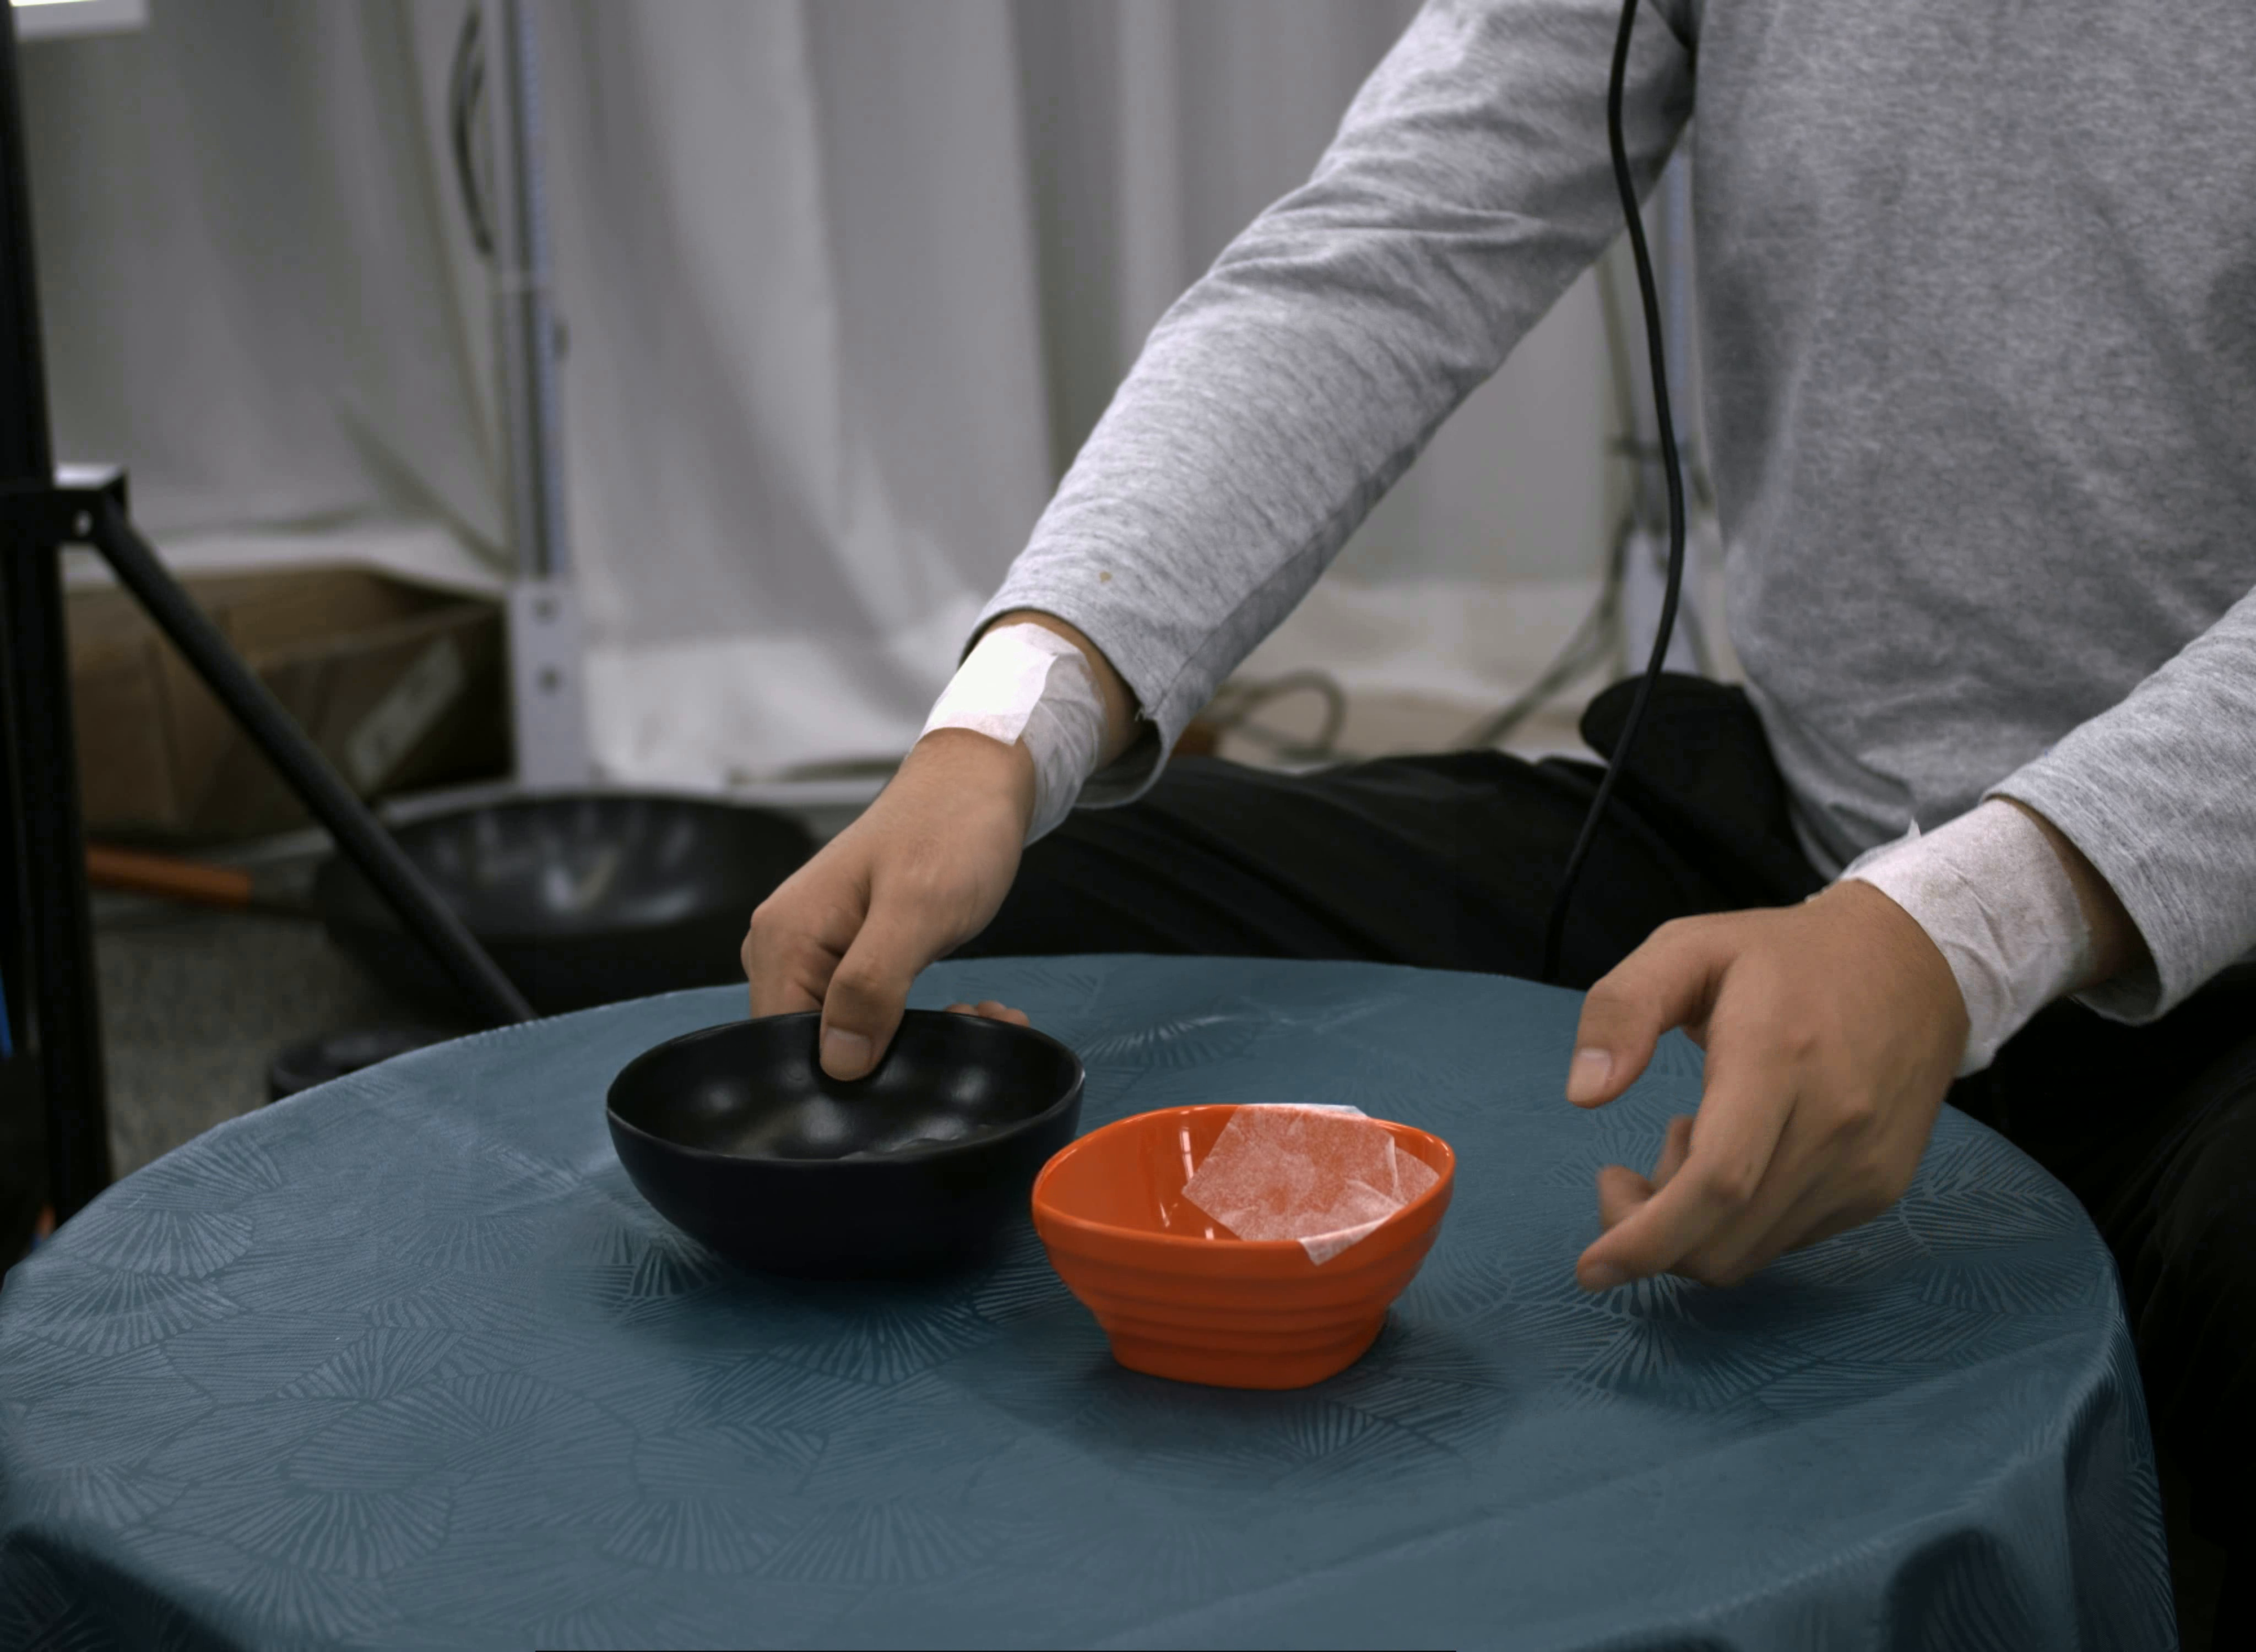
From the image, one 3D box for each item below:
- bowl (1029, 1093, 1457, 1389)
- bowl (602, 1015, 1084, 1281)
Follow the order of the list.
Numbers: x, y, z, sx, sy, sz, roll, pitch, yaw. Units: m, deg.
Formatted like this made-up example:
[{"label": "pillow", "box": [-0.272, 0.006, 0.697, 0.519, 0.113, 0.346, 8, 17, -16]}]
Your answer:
[{"label": "bowl", "box": [0.033, 0.115, 1.434, 0.118, 0.051, 0.119, -5, 17, 0]}, {"label": "bowl", "box": [-0.081, 0.097, 1.529, 0.139, 0.050, 0.140, 0, 14, -1]}]
